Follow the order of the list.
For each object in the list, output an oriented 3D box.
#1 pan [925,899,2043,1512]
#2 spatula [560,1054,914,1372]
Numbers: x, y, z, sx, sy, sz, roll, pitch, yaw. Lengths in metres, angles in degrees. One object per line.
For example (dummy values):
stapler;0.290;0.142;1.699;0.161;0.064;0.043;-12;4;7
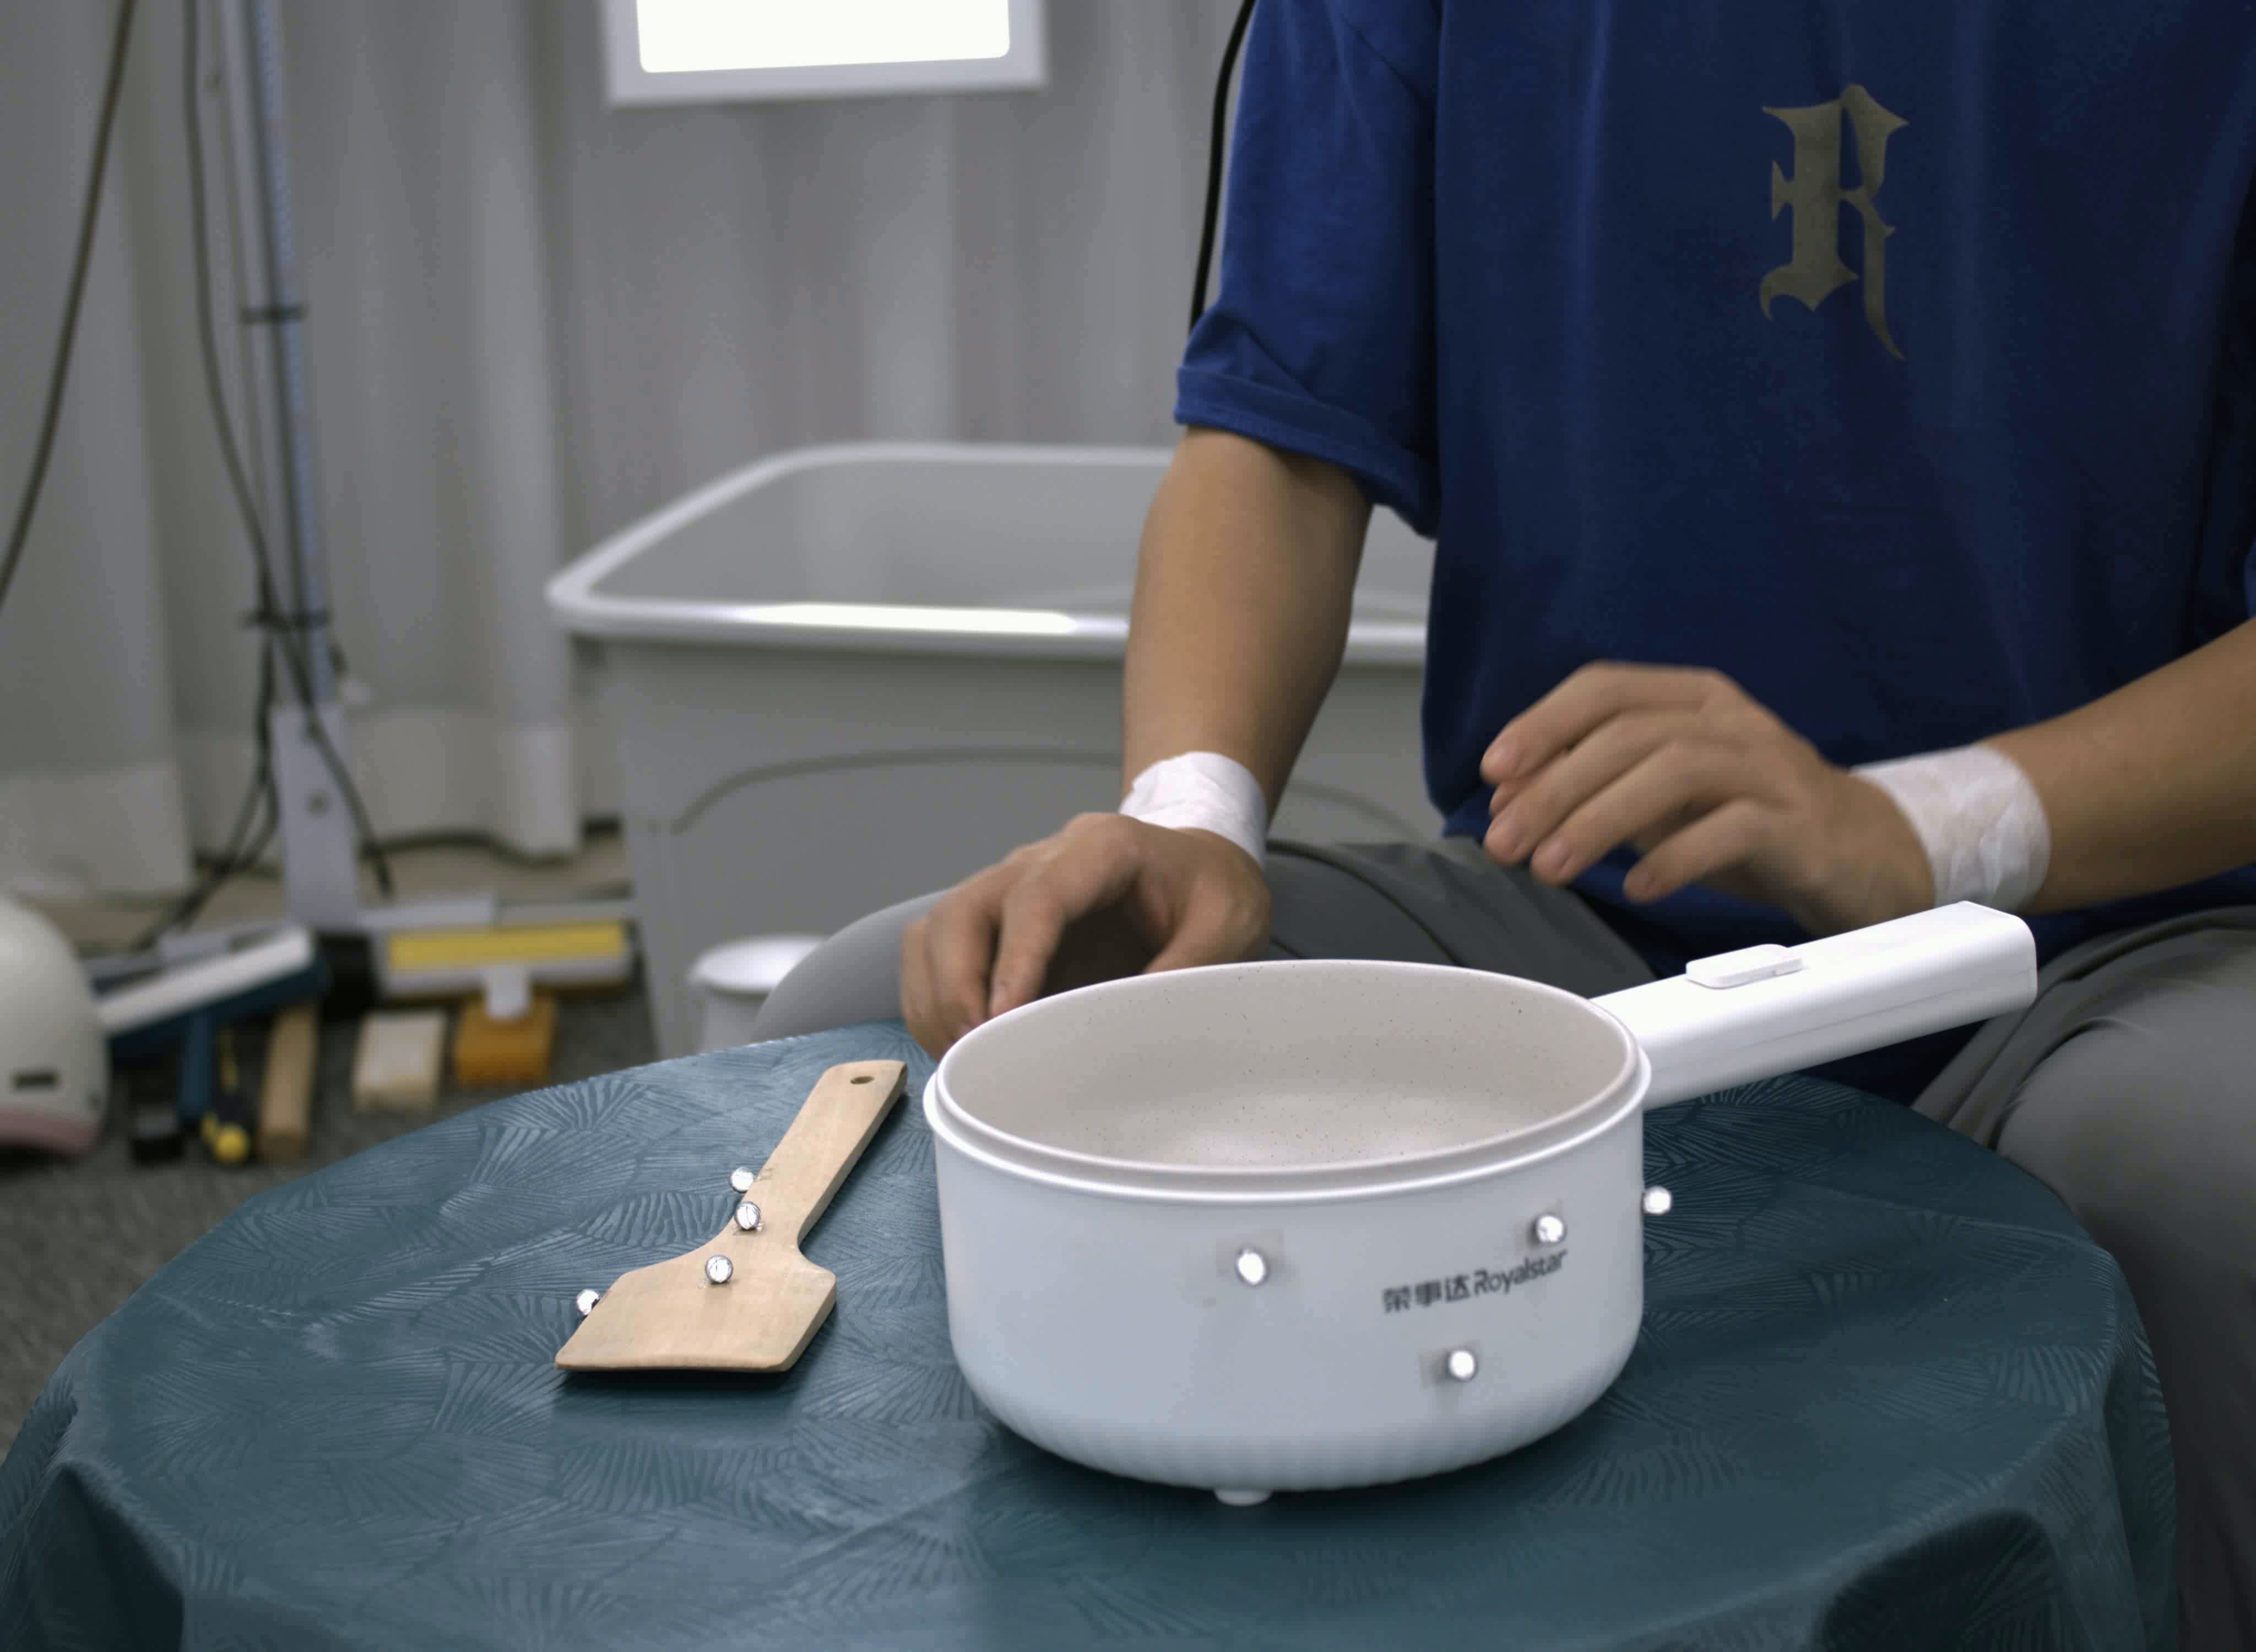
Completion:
pan;0.112;0.101;1.554;0.353;0.102;0.202;-12;15;-30
spatula;-0.108;0.118;1.699;0.072;0.010;0.294;-2;15;10
